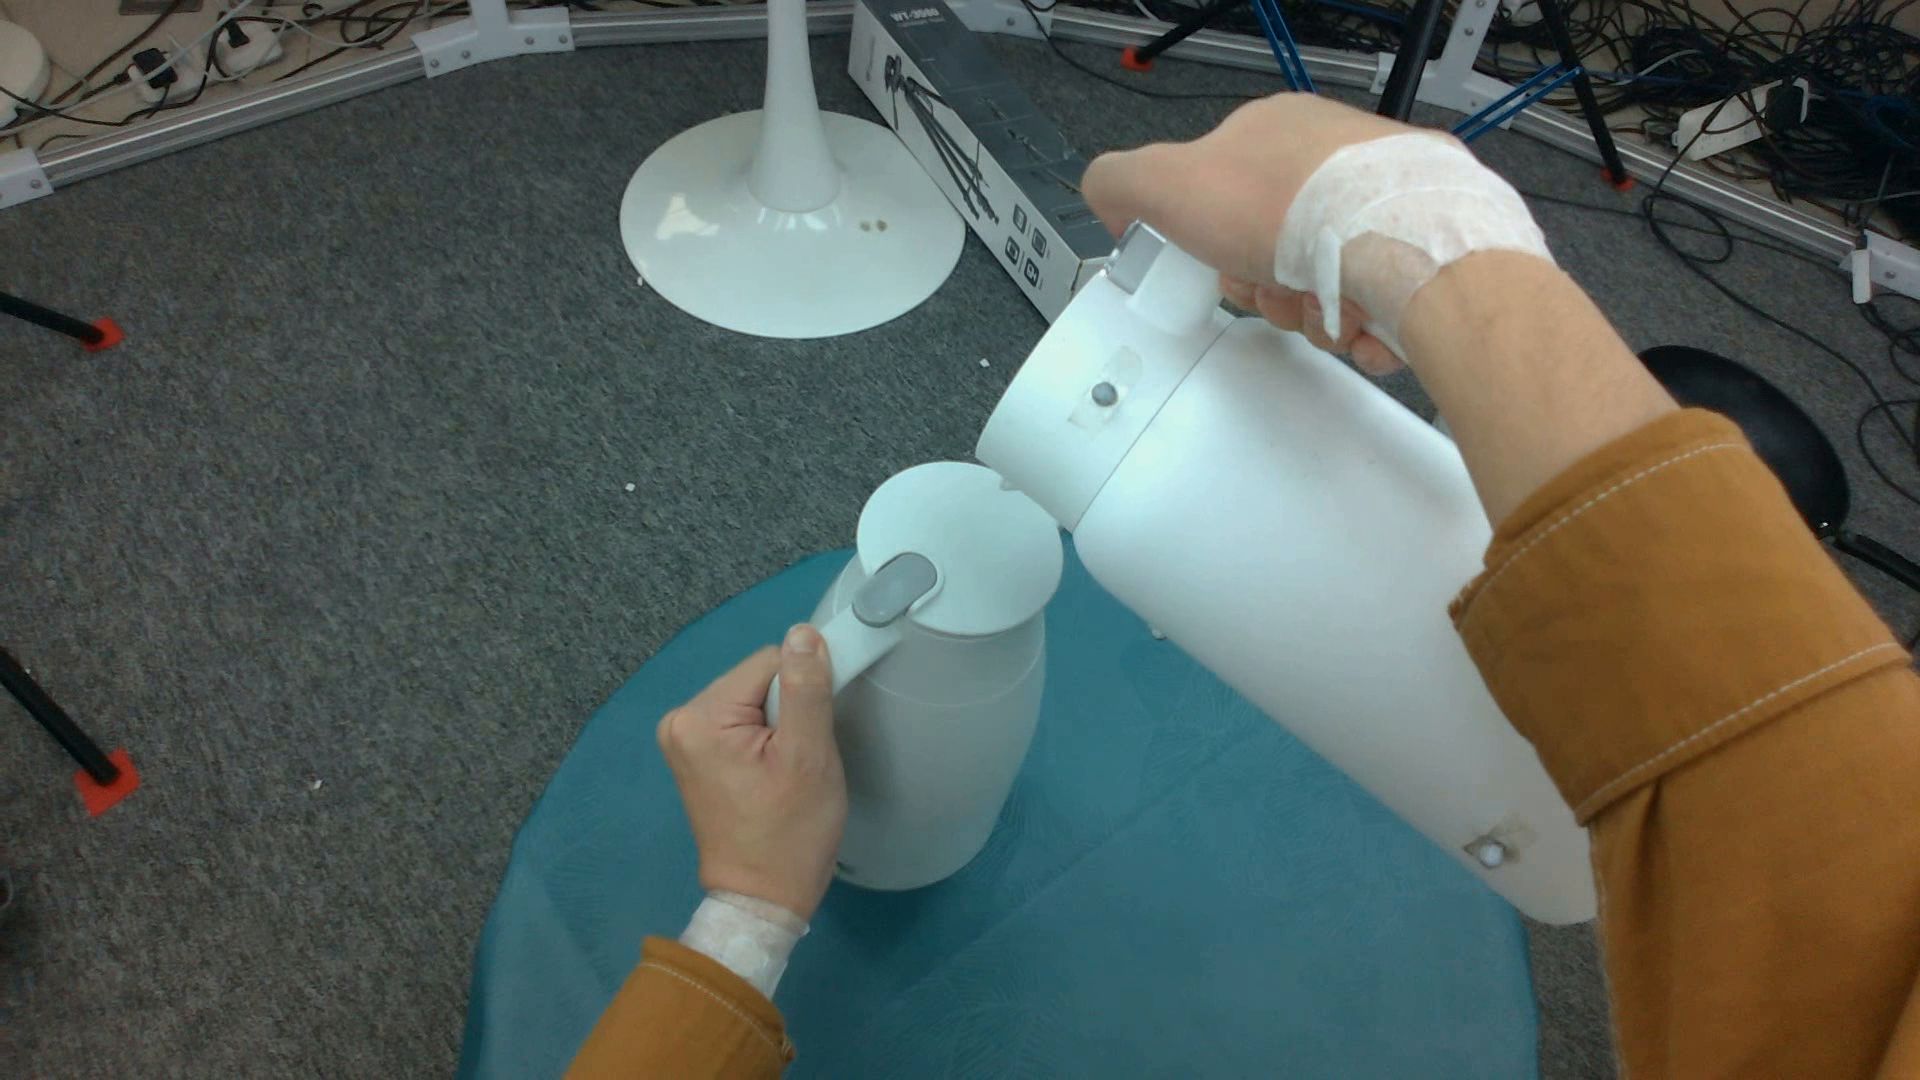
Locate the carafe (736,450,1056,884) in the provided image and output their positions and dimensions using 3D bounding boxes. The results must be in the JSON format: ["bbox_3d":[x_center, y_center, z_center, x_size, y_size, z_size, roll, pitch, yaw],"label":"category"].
[{"bbox_3d":[-0.037,0.073,0.678,0.168,0.247,0.132,-33,68,-30],"label":"carafe"}]

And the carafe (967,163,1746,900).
[{"bbox_3d":[0.144,-0.006,0.494,0.269,0.172,0.124,39,43,7],"label":"carafe"}]
